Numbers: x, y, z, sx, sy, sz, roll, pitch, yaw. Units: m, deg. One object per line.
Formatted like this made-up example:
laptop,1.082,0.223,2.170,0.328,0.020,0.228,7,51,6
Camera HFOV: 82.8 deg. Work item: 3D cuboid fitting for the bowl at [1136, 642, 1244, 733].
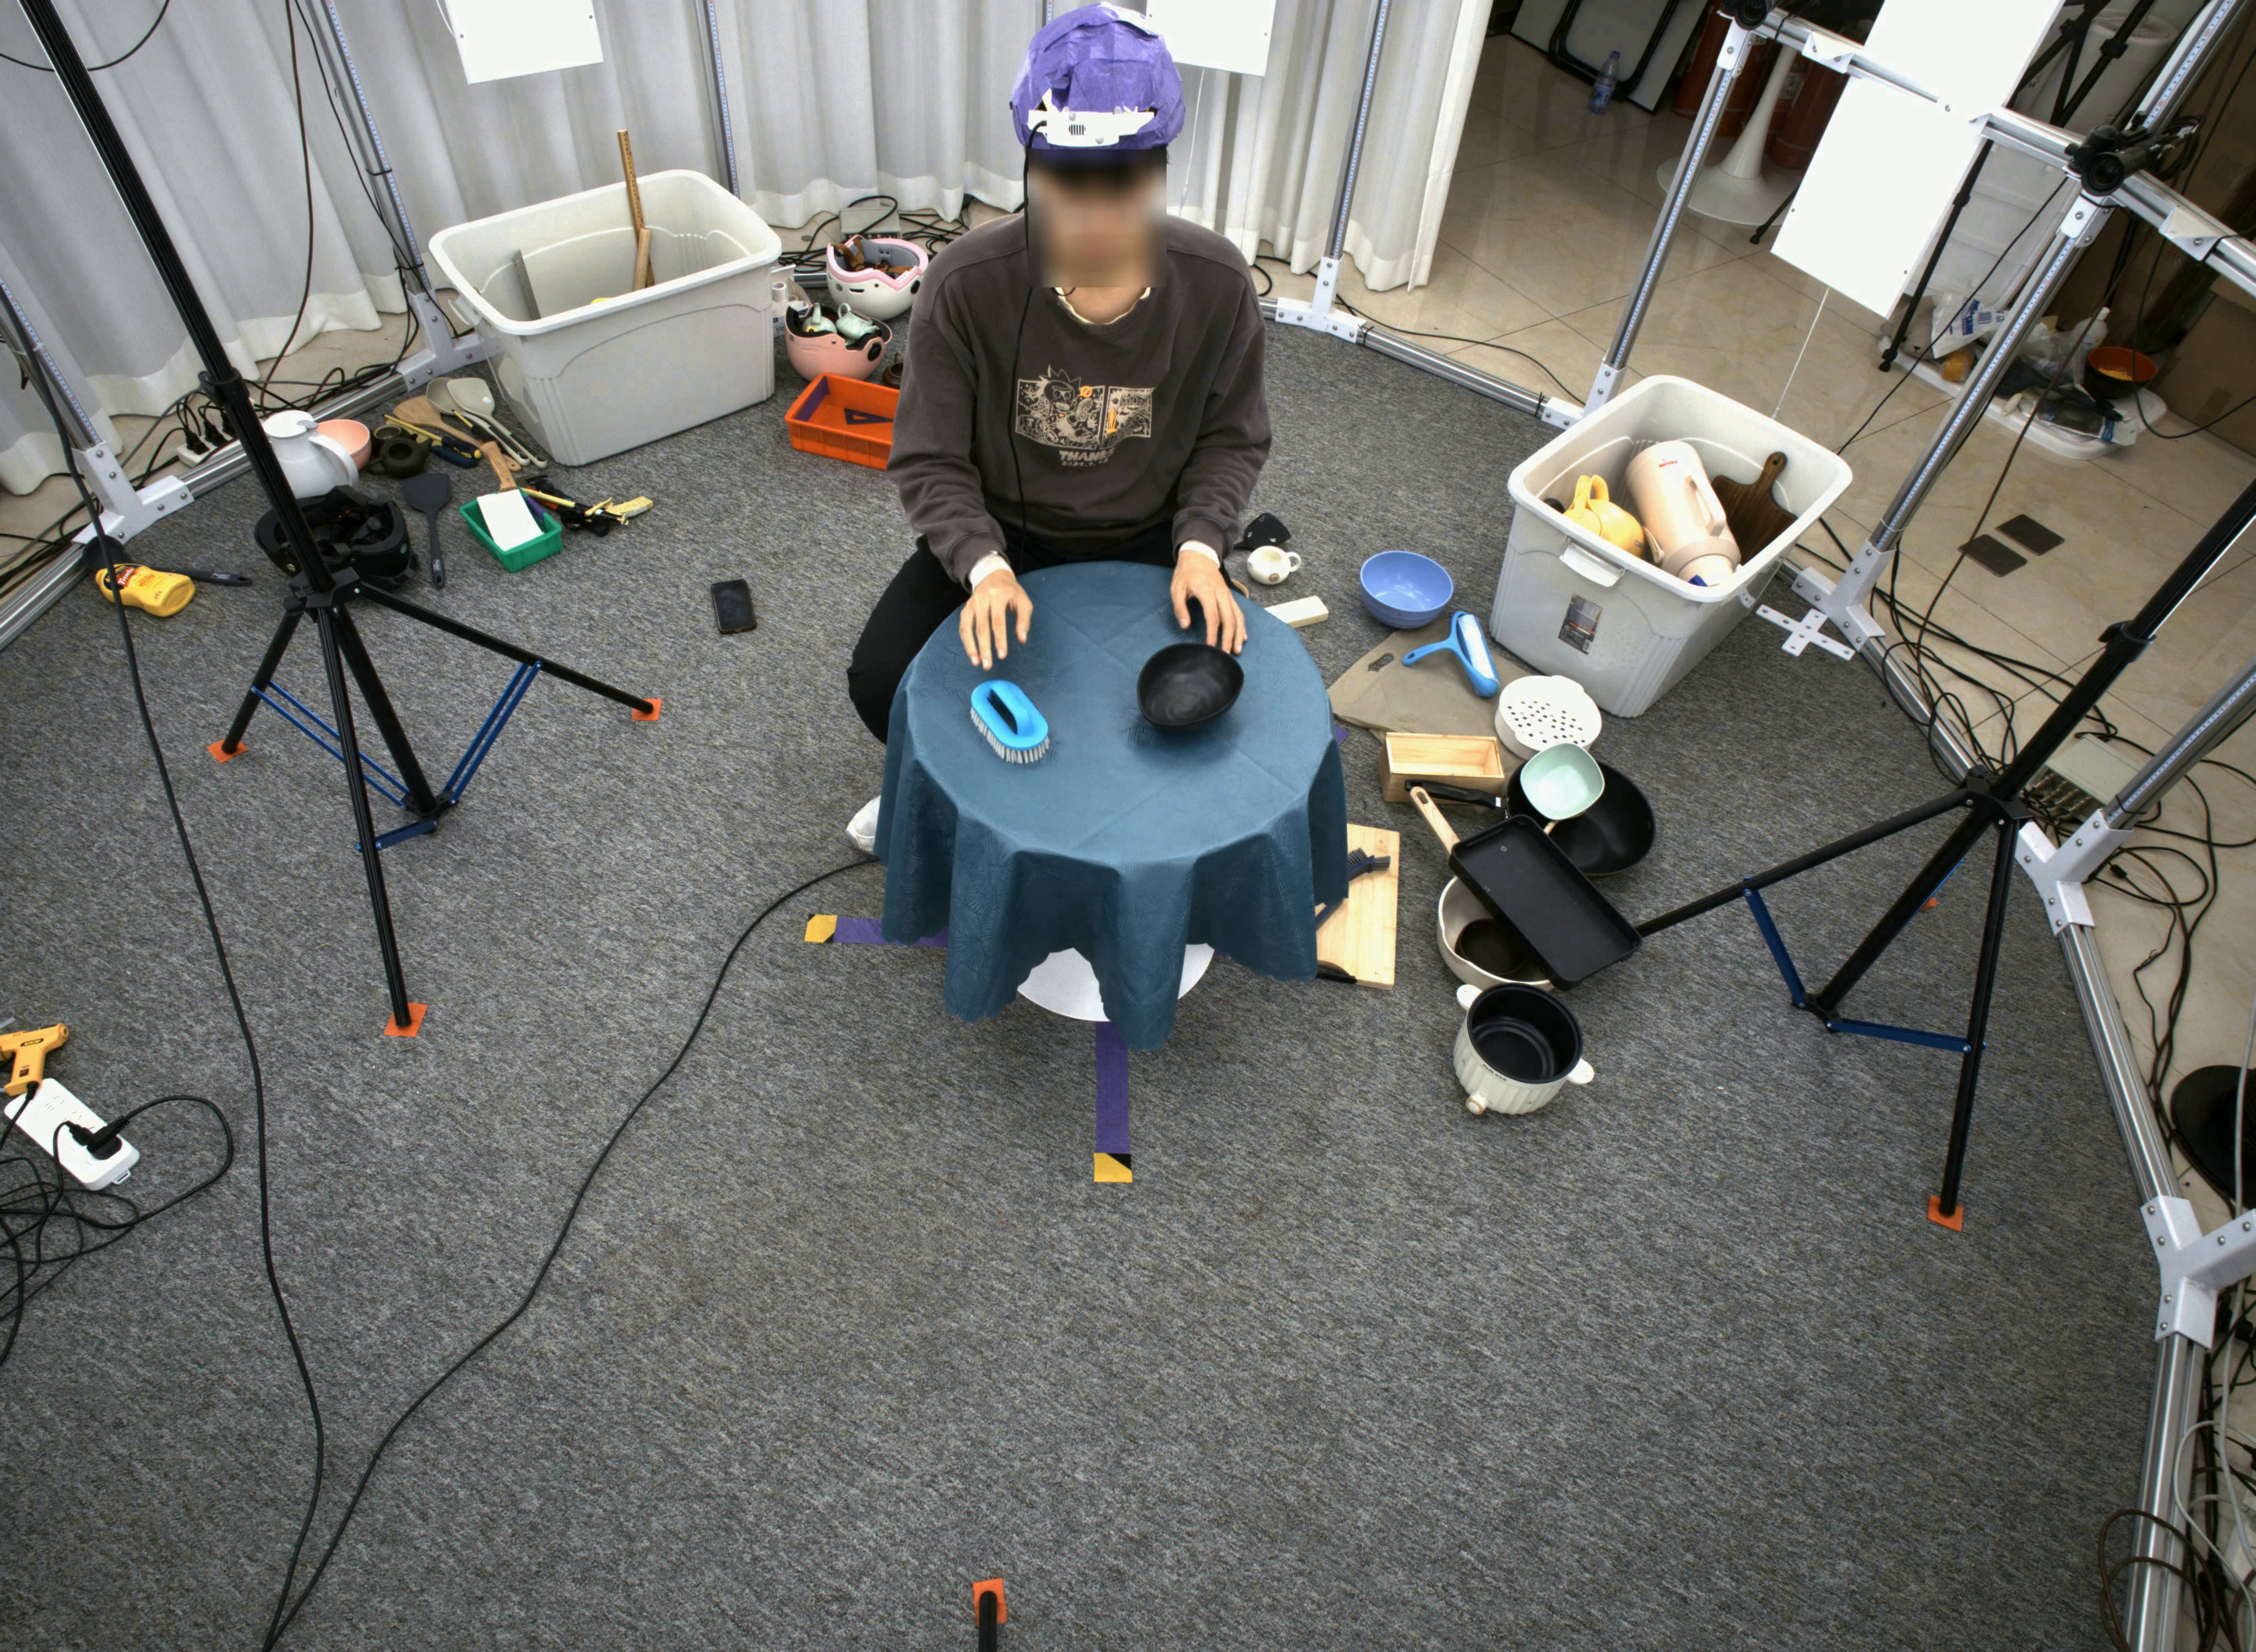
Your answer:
bowl,0.085,-0.181,1.788,0.139,0.065,0.172,29,55,21

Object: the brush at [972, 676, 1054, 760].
brush,-0.160,-0.157,1.749,0.084,0.062,0.145,-25,54,-17
